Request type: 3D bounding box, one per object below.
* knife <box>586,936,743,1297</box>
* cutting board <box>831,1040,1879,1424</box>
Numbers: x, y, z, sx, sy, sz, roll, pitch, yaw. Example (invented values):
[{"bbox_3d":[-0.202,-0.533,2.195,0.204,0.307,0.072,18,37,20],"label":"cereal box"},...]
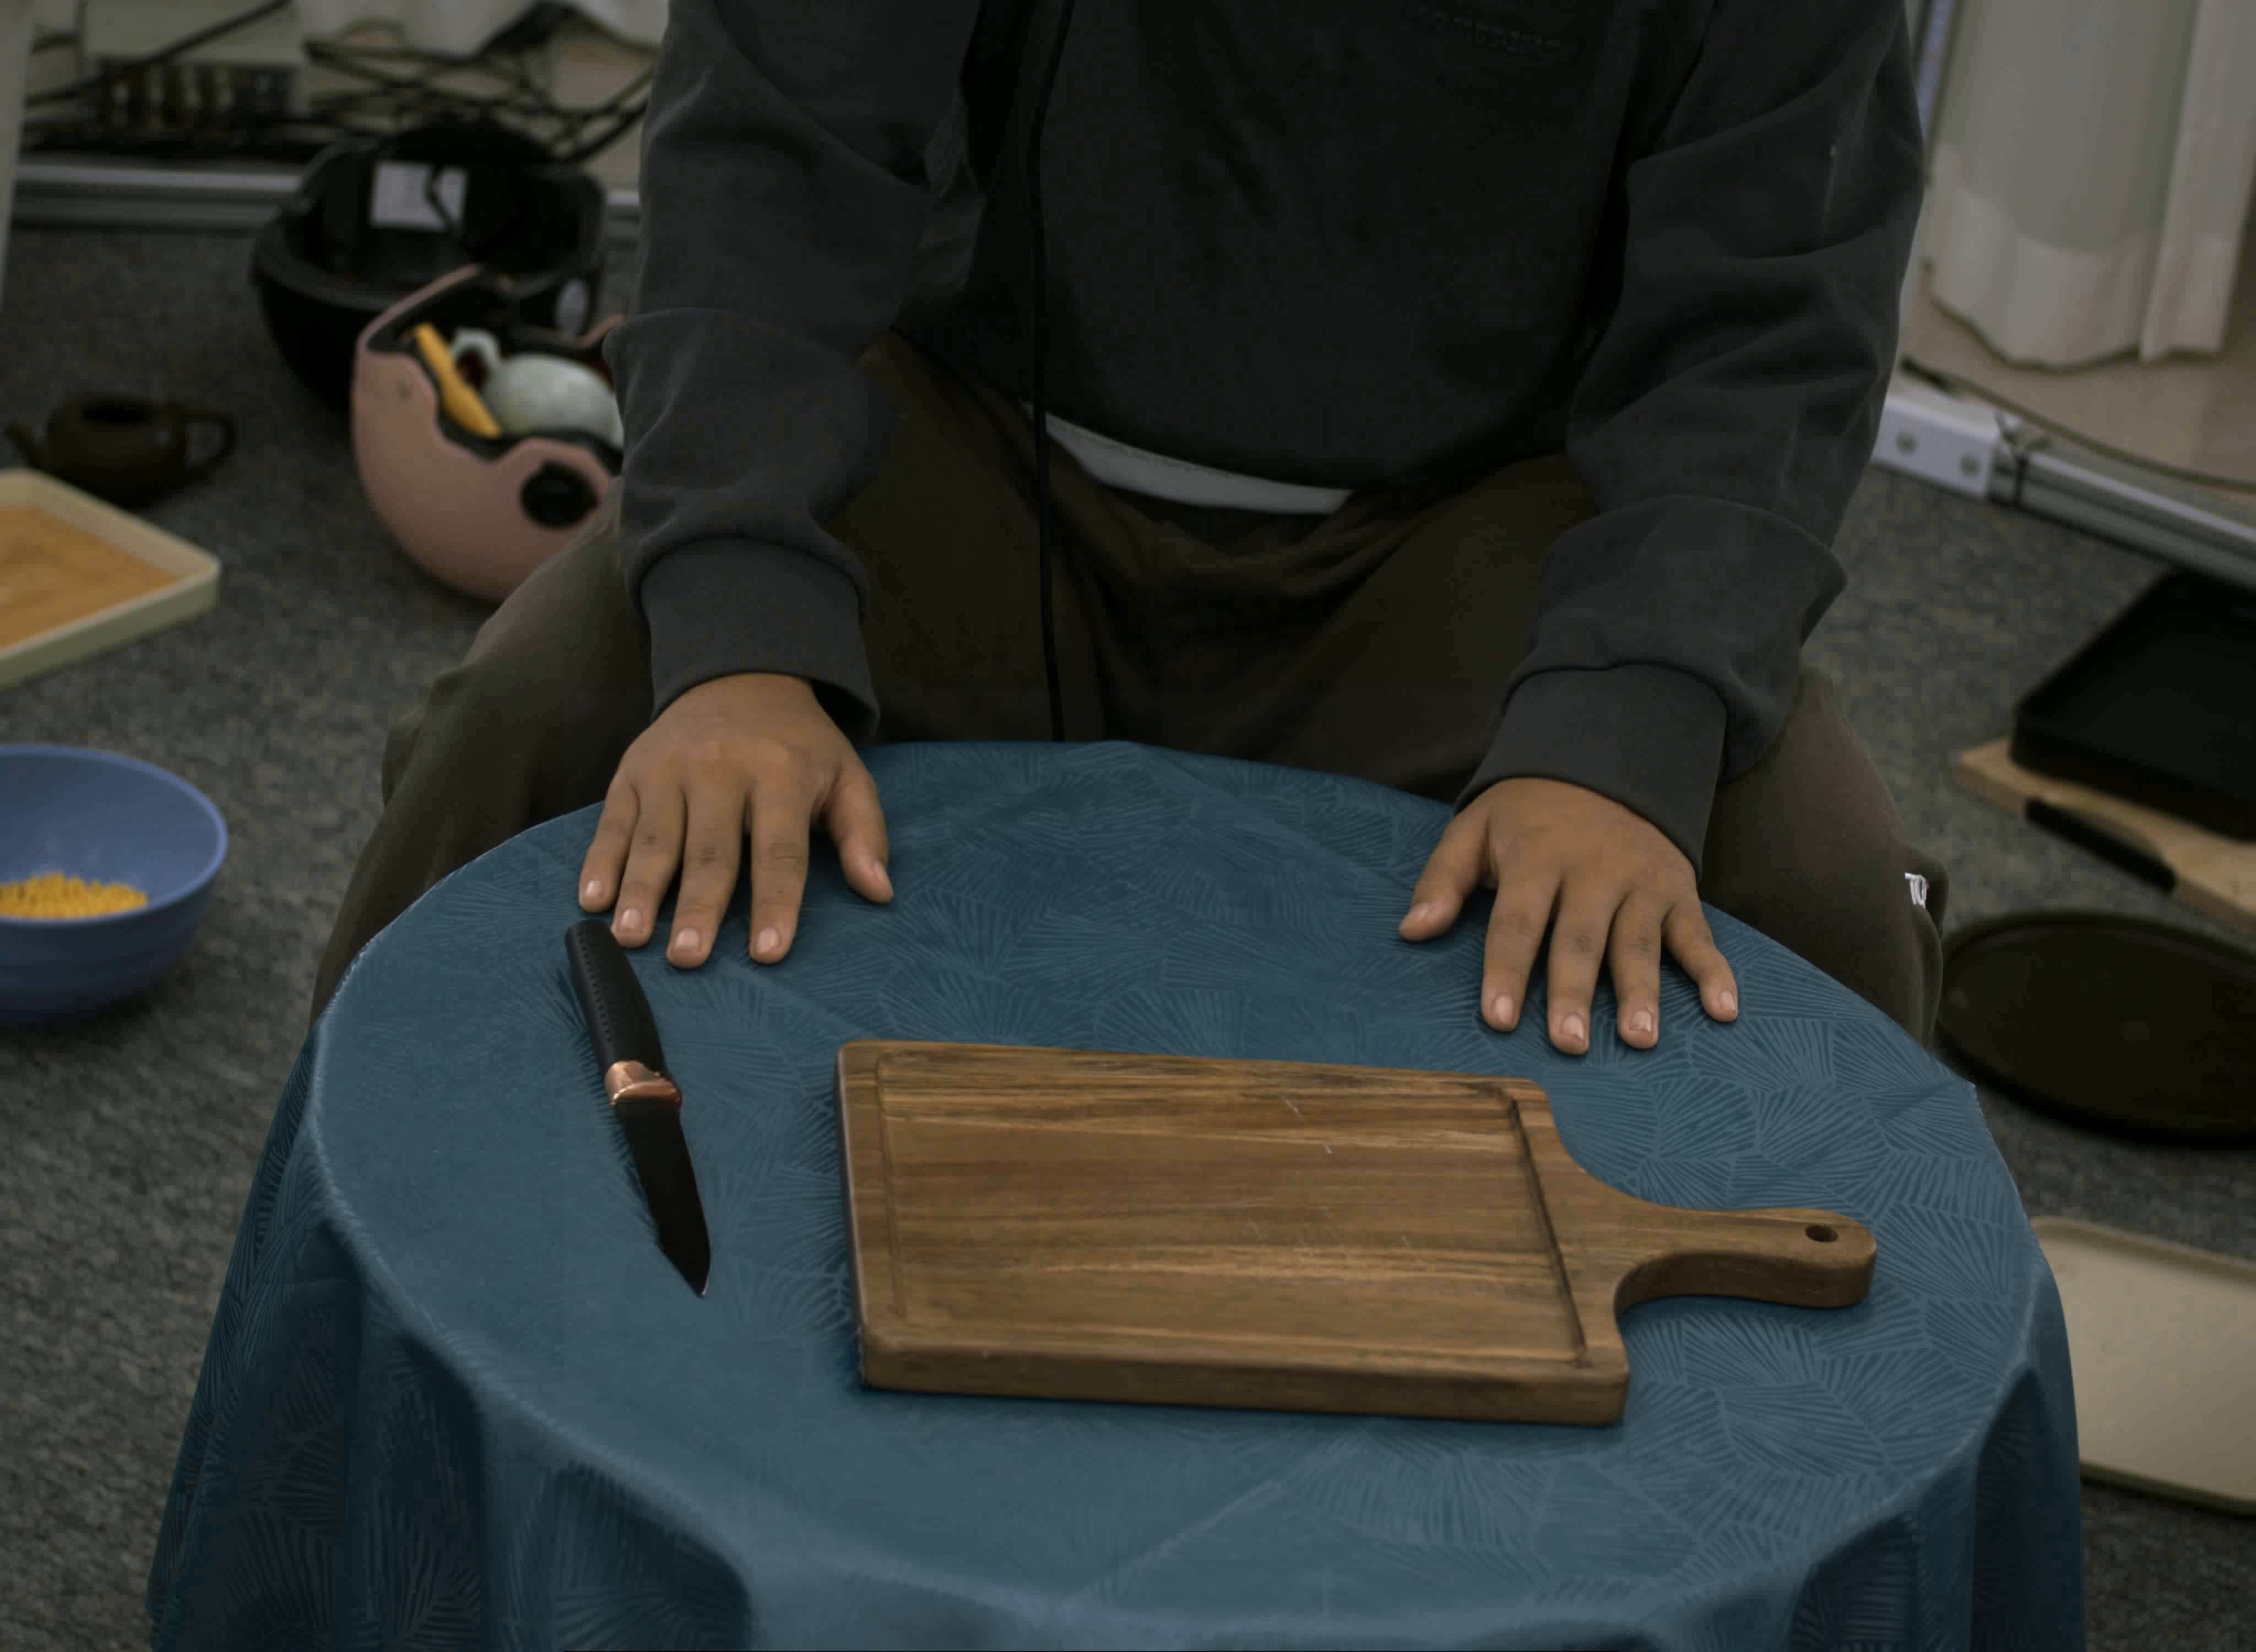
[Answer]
[{"bbox_3d":[-0.159,0.097,1.810,0.026,0.017,0.227,5,27,-18],"label":"knife"},{"bbox_3d":[0.079,0.136,1.778,0.350,0.023,0.202,3,27,-7],"label":"cutting board"}]
